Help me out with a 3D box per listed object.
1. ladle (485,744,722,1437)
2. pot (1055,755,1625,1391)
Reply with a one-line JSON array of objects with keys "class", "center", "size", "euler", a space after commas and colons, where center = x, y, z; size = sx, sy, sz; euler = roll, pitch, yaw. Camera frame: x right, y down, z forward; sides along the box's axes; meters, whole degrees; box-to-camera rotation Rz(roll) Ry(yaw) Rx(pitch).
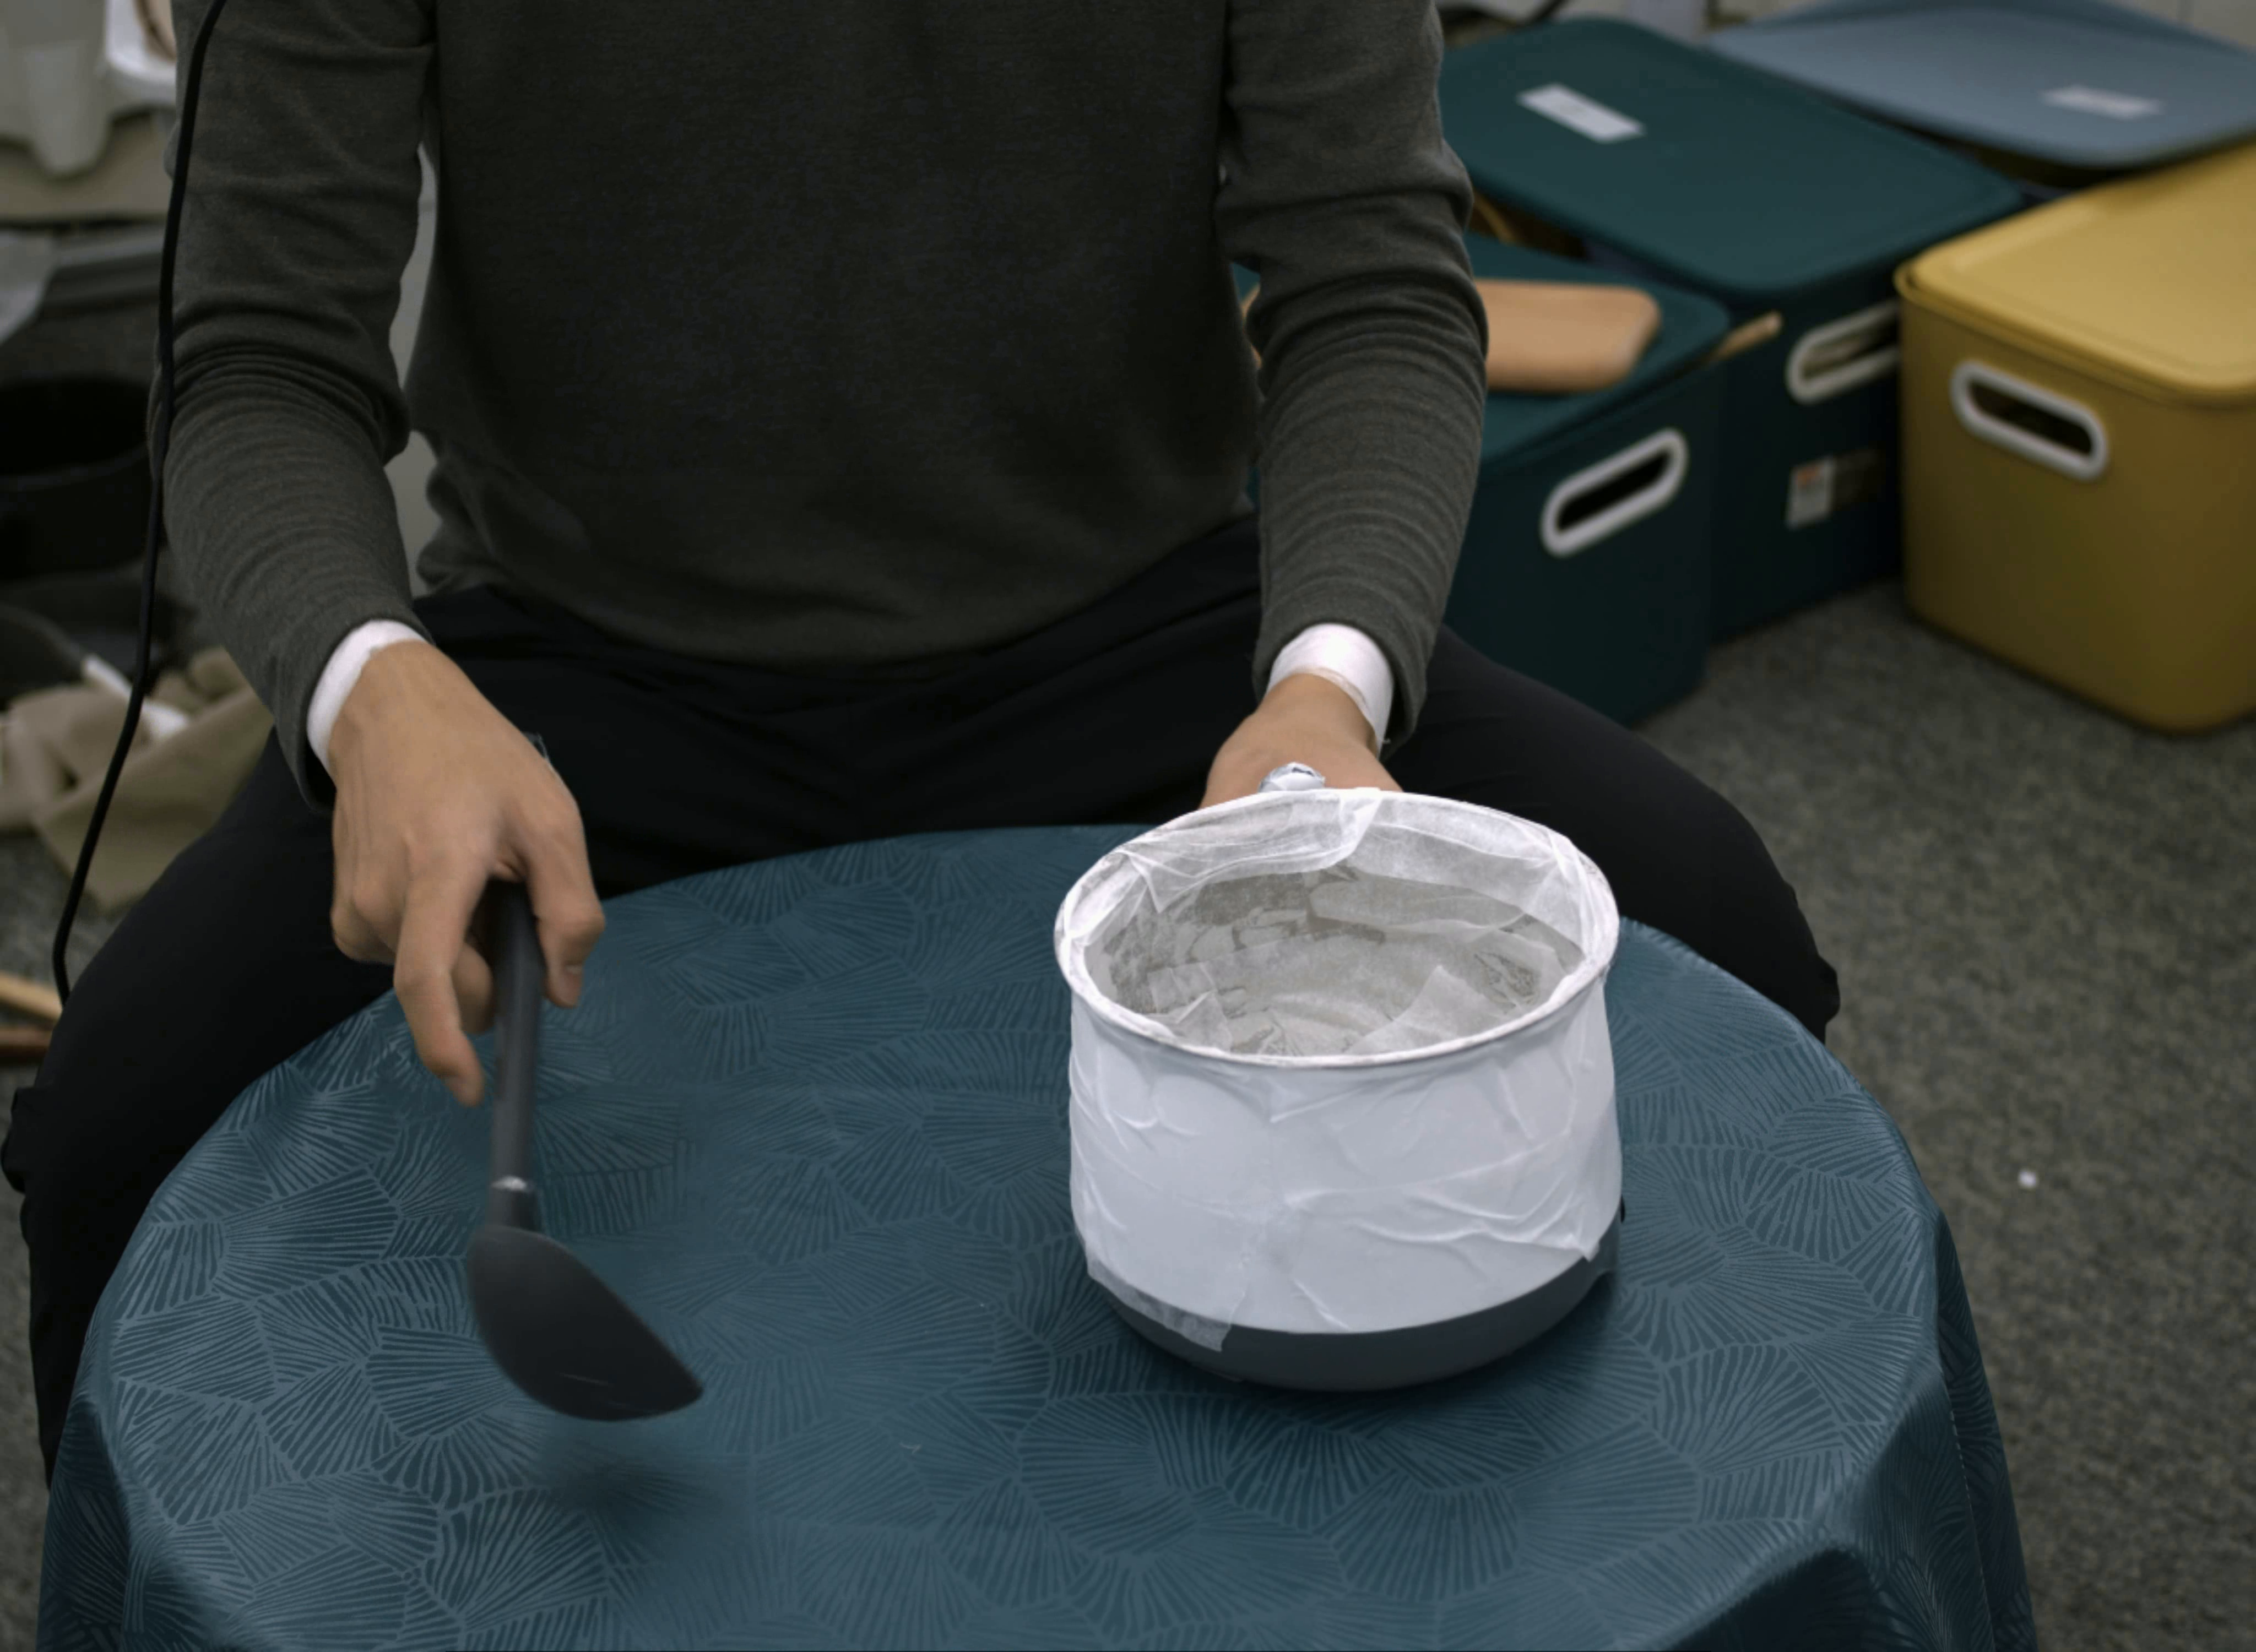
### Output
[{"class": "ladle", "center": [-0.173, 0.069, 1.788], "size": [0.063, 0.085, 0.320], "euler": [-22, 39, 13]}, {"class": "pot", "center": [0.065, 0.071, 1.803], "size": [0.178, 0.135, 0.237], "euler": [-5, 27, -5]}]
